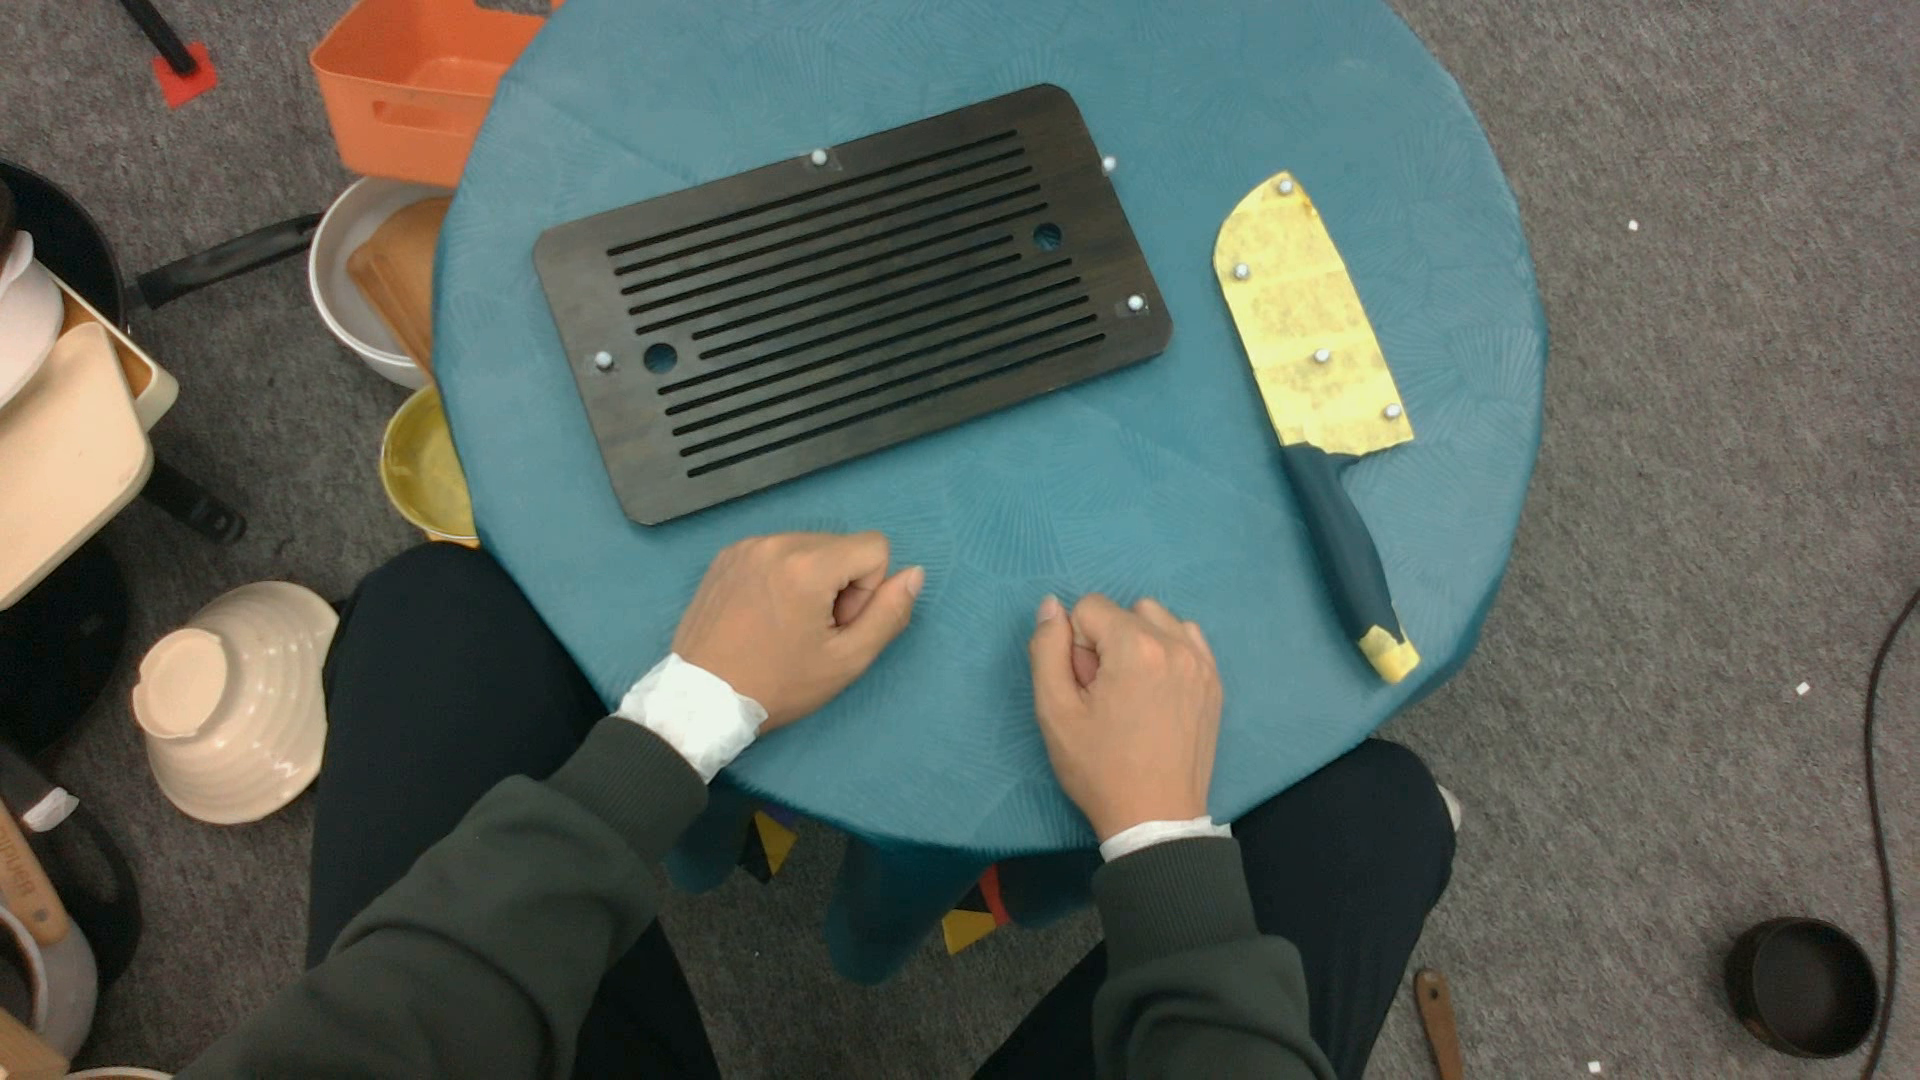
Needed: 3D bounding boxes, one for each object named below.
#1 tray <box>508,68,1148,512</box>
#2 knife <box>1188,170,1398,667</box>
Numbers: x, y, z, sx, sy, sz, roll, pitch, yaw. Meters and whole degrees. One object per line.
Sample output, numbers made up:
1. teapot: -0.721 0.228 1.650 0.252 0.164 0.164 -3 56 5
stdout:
1. tray: -0.066 -0.137 0.728 0.306 0.018 0.170 -20 78 -11
2. knife: 0.189 -0.074 0.742 0.081 0.027 0.290 -12 75 -8
